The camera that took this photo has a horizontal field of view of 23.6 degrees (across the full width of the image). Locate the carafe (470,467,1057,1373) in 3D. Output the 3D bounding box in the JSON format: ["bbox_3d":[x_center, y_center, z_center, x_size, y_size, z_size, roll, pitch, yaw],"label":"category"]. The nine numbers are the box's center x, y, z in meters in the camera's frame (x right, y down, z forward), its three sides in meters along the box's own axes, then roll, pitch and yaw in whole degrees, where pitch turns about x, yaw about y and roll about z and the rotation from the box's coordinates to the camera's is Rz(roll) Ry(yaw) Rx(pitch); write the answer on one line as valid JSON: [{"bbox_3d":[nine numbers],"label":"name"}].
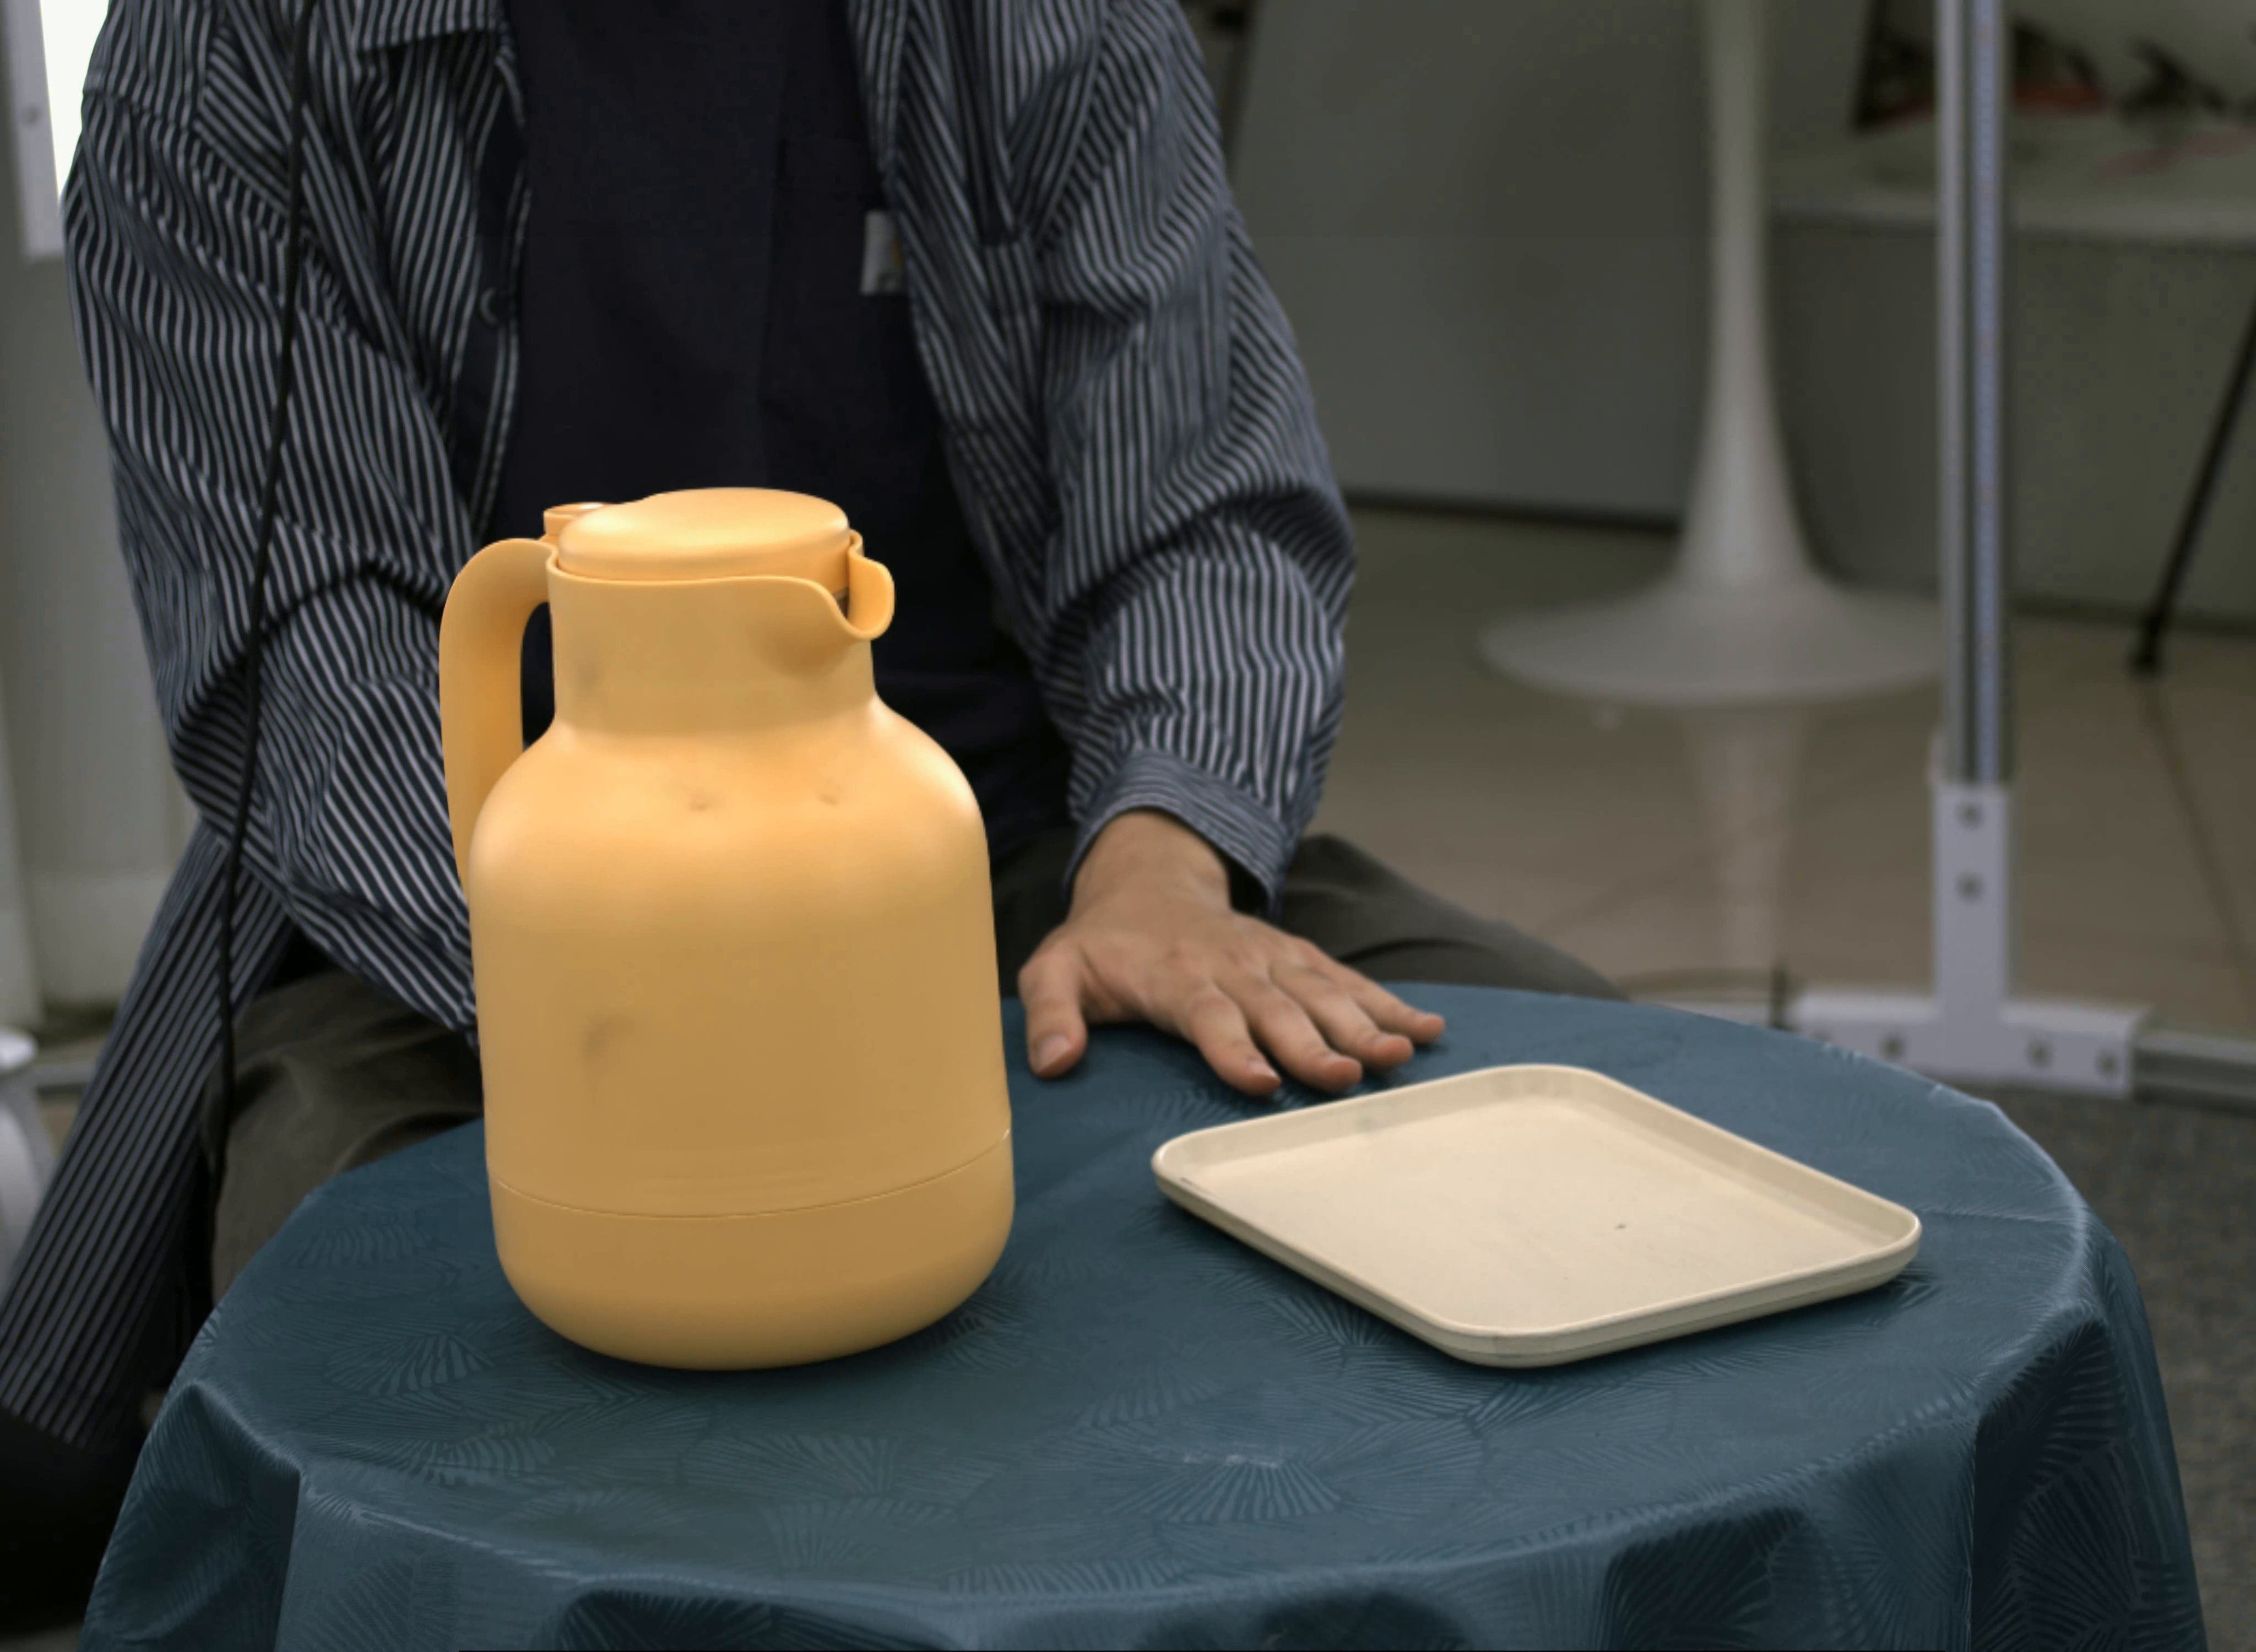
[{"bbox_3d":[-0.120,0.022,1.658,0.204,0.263,0.160,9,16,42],"label":"carafe"}]

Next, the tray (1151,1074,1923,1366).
[{"bbox_3d":[0.125,0.122,1.691,0.167,0.017,0.242,-10,14,-25],"label":"tray"}]
